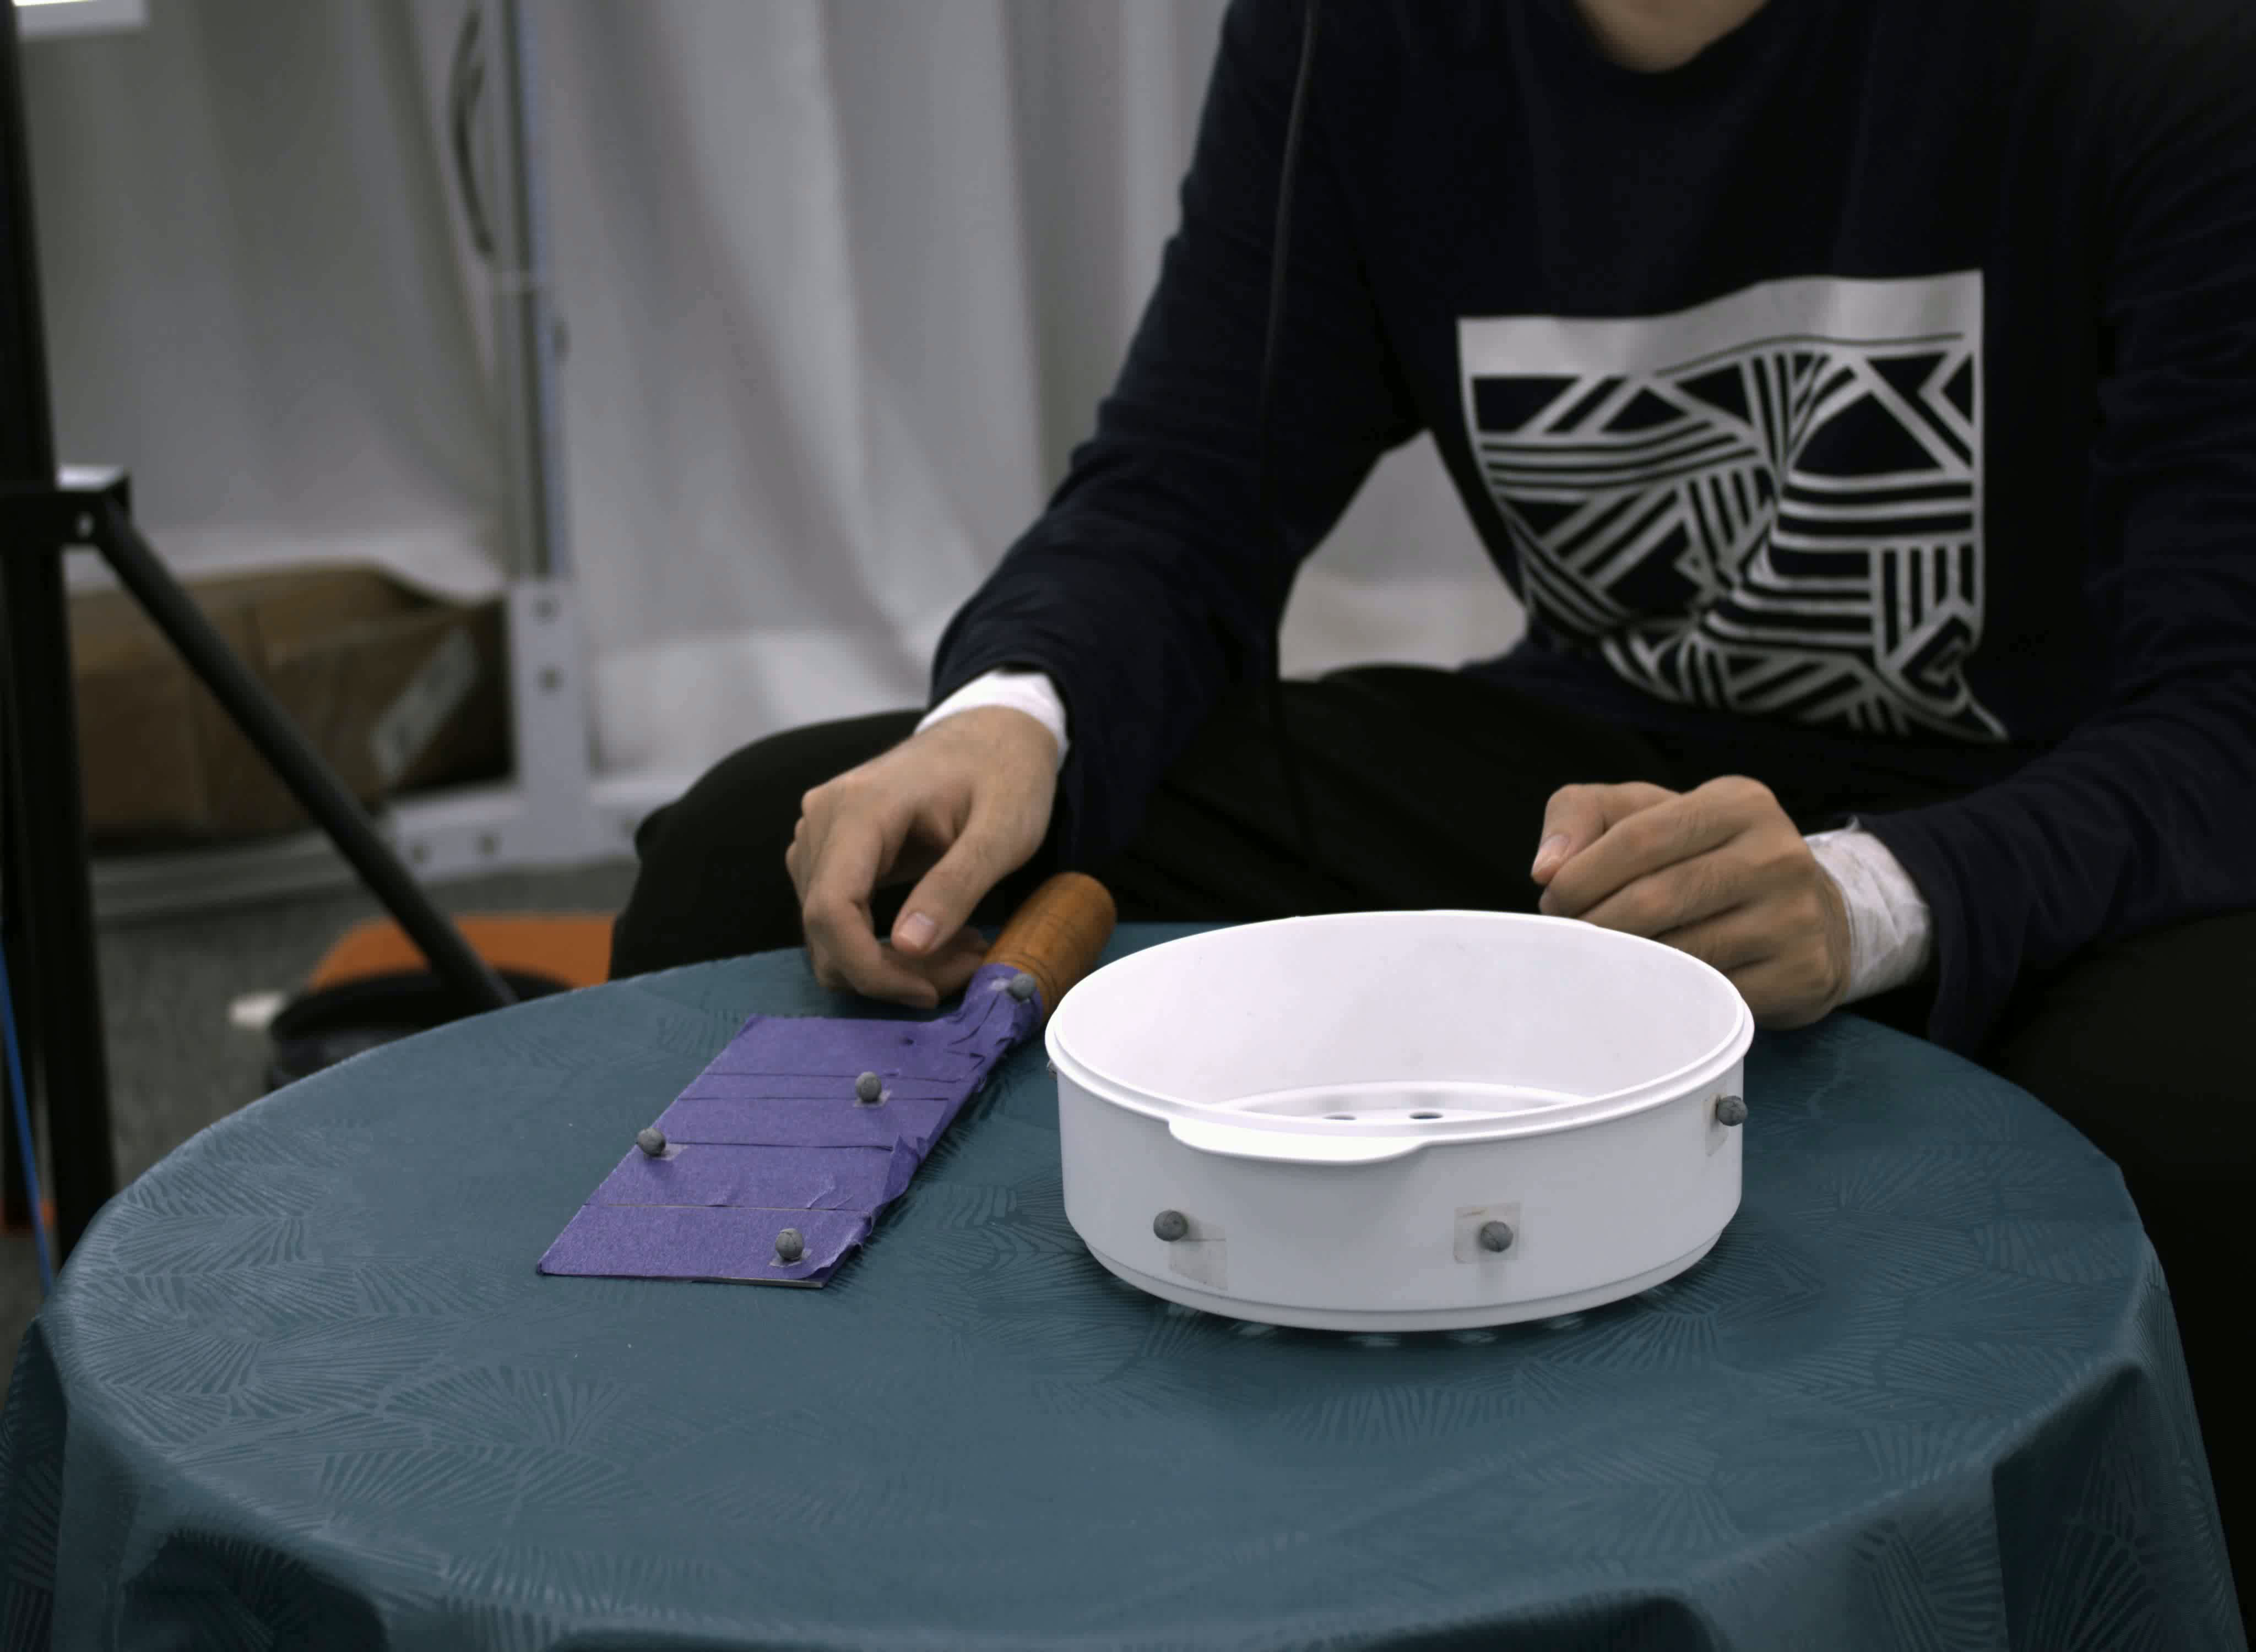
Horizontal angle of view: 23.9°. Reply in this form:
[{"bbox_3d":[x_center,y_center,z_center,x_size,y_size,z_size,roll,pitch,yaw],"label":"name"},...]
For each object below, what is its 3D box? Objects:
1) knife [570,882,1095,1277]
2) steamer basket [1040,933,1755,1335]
[{"bbox_3d":[-0.088,0.075,1.644,0.104,0.032,0.313,2,17,14],"label":"knife"},{"bbox_3d":[0.076,0.087,1.505,0.204,0.069,0.227,5,14,21],"label":"steamer basket"}]
